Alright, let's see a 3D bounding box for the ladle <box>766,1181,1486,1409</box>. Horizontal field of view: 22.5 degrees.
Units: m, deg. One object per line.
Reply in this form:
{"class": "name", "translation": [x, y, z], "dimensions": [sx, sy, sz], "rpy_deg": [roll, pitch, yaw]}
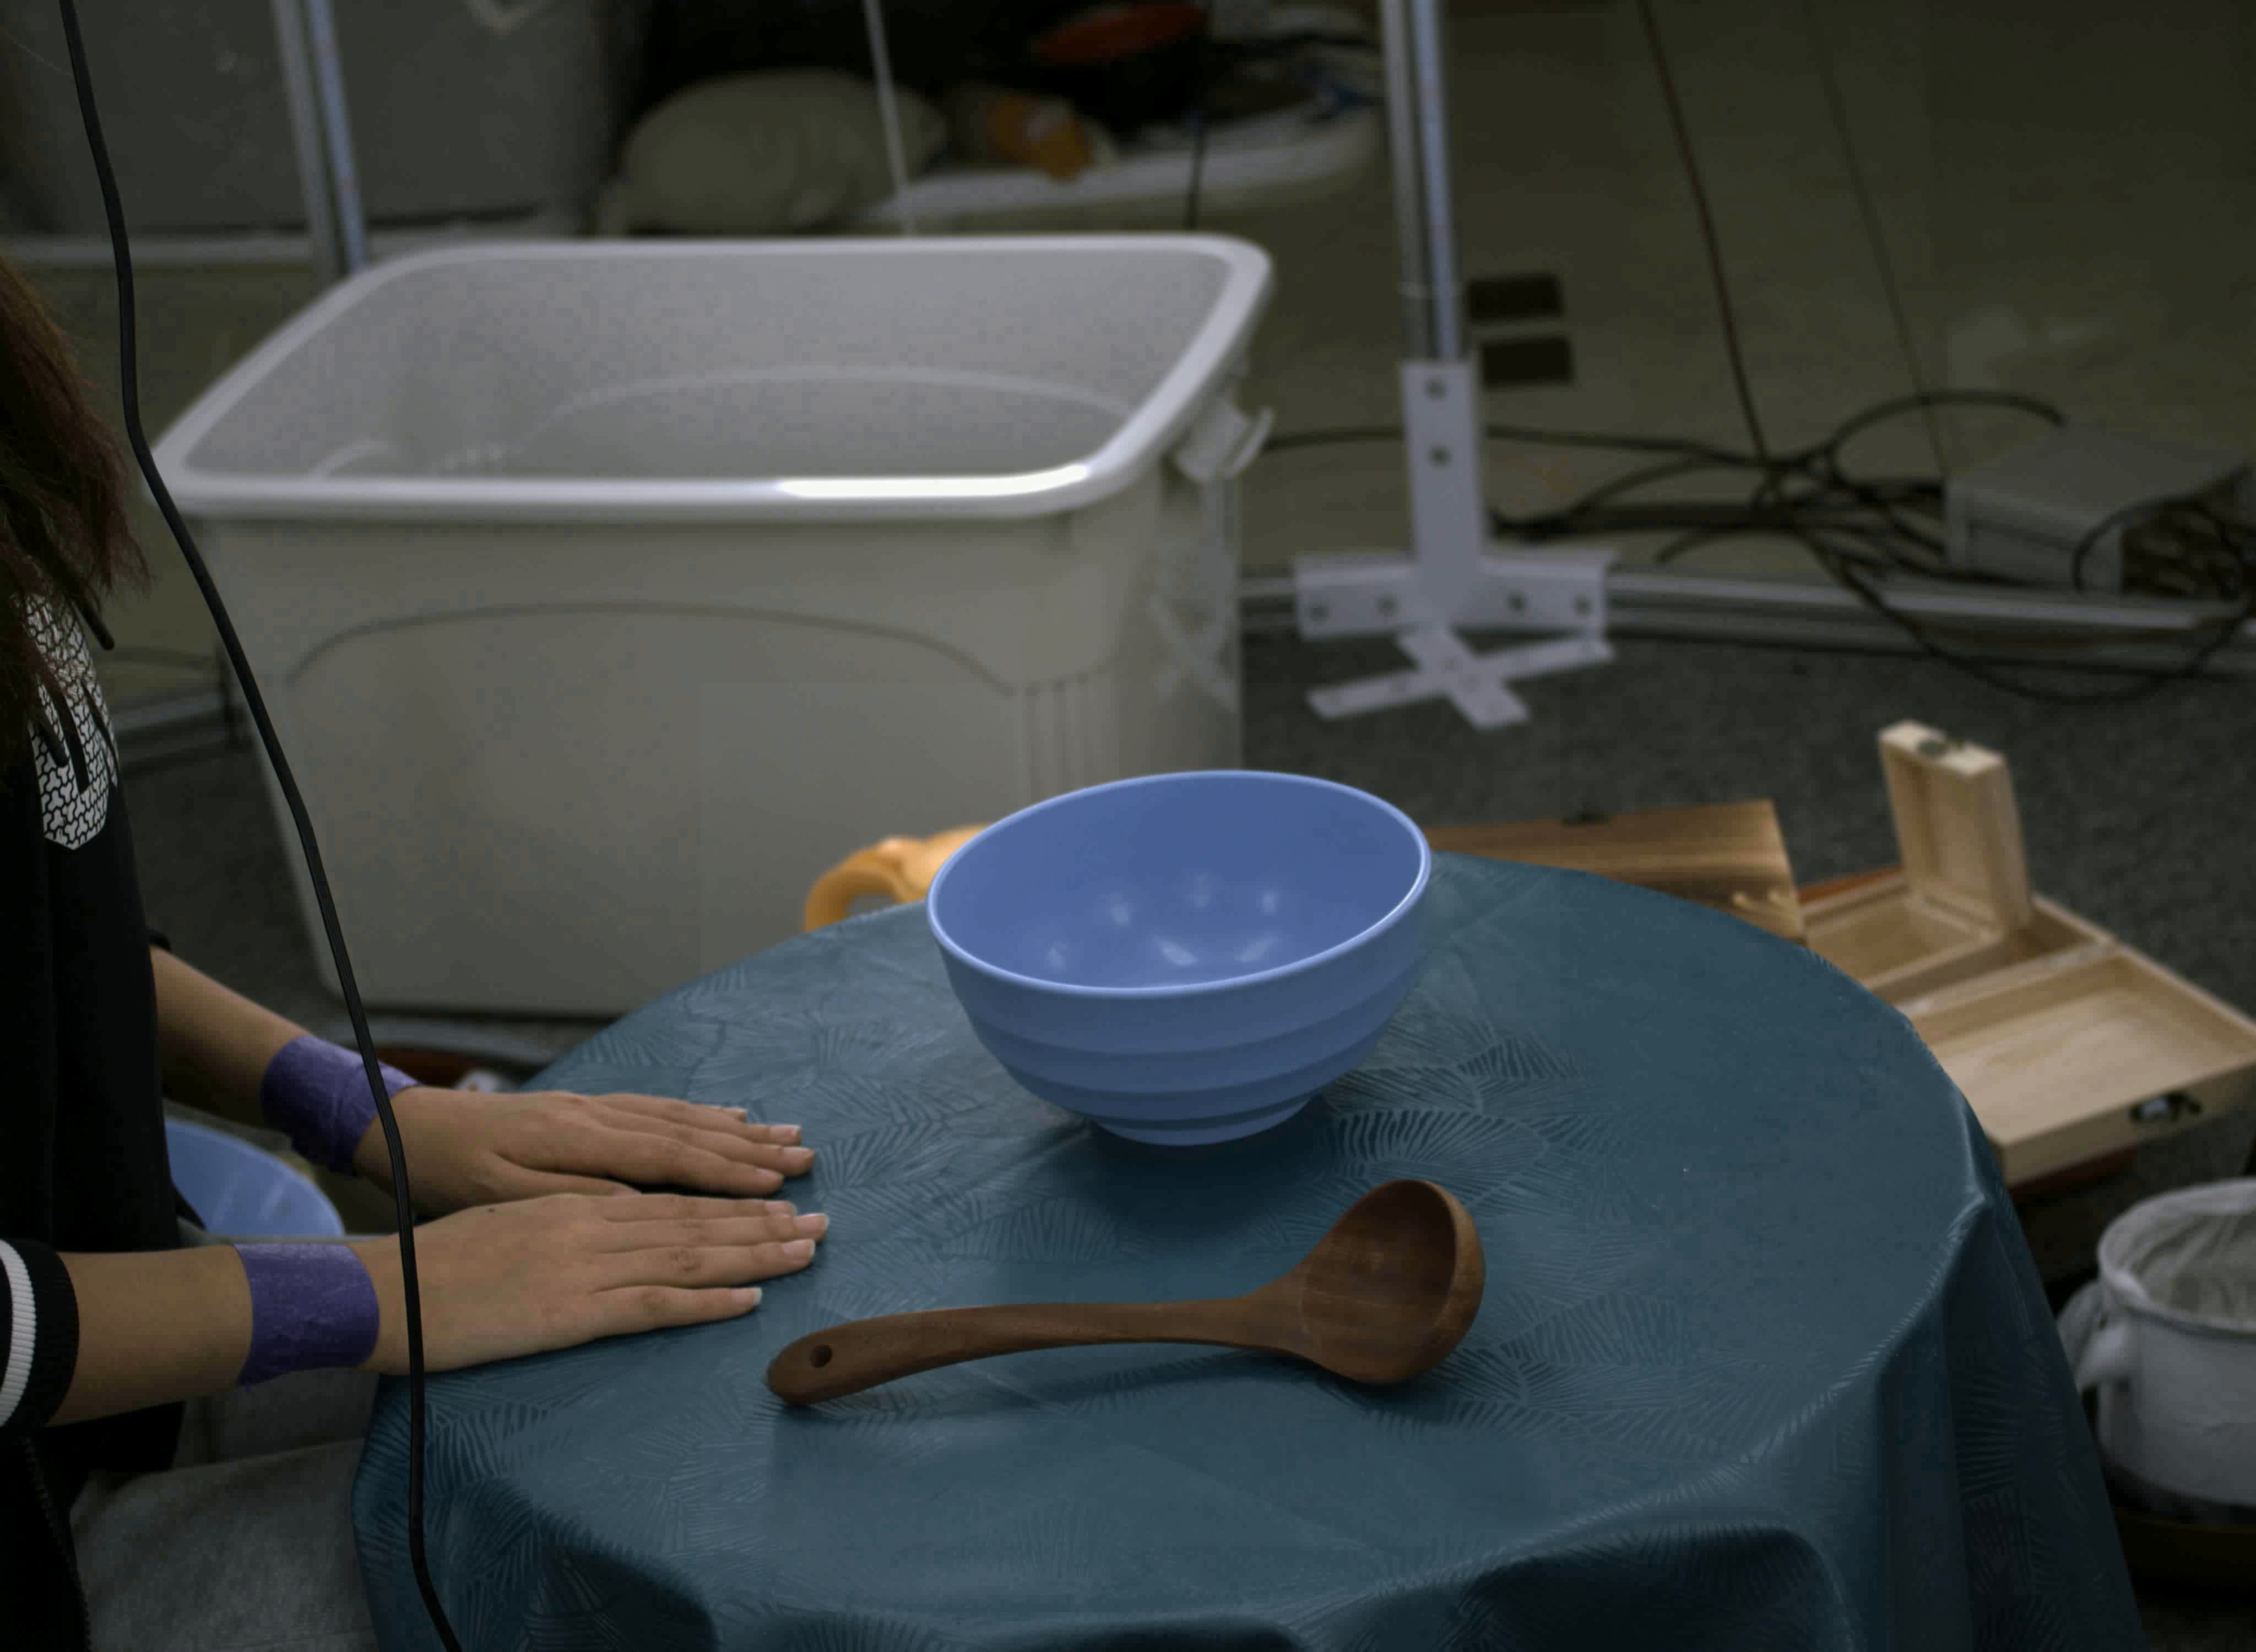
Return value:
{"class": "ladle", "translation": [-0.003, 0.172, 2.007], "dimensions": [0.260, 0.066, 0.075], "rpy_deg": [-5, 53, 3]}

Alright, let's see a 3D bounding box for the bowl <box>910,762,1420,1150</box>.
{"class": "bowl", "translation": [0.016, 0.061, 2.198], "dimensions": [0.196, 0.097, 0.193], "rpy_deg": [-2, 30, 1]}
